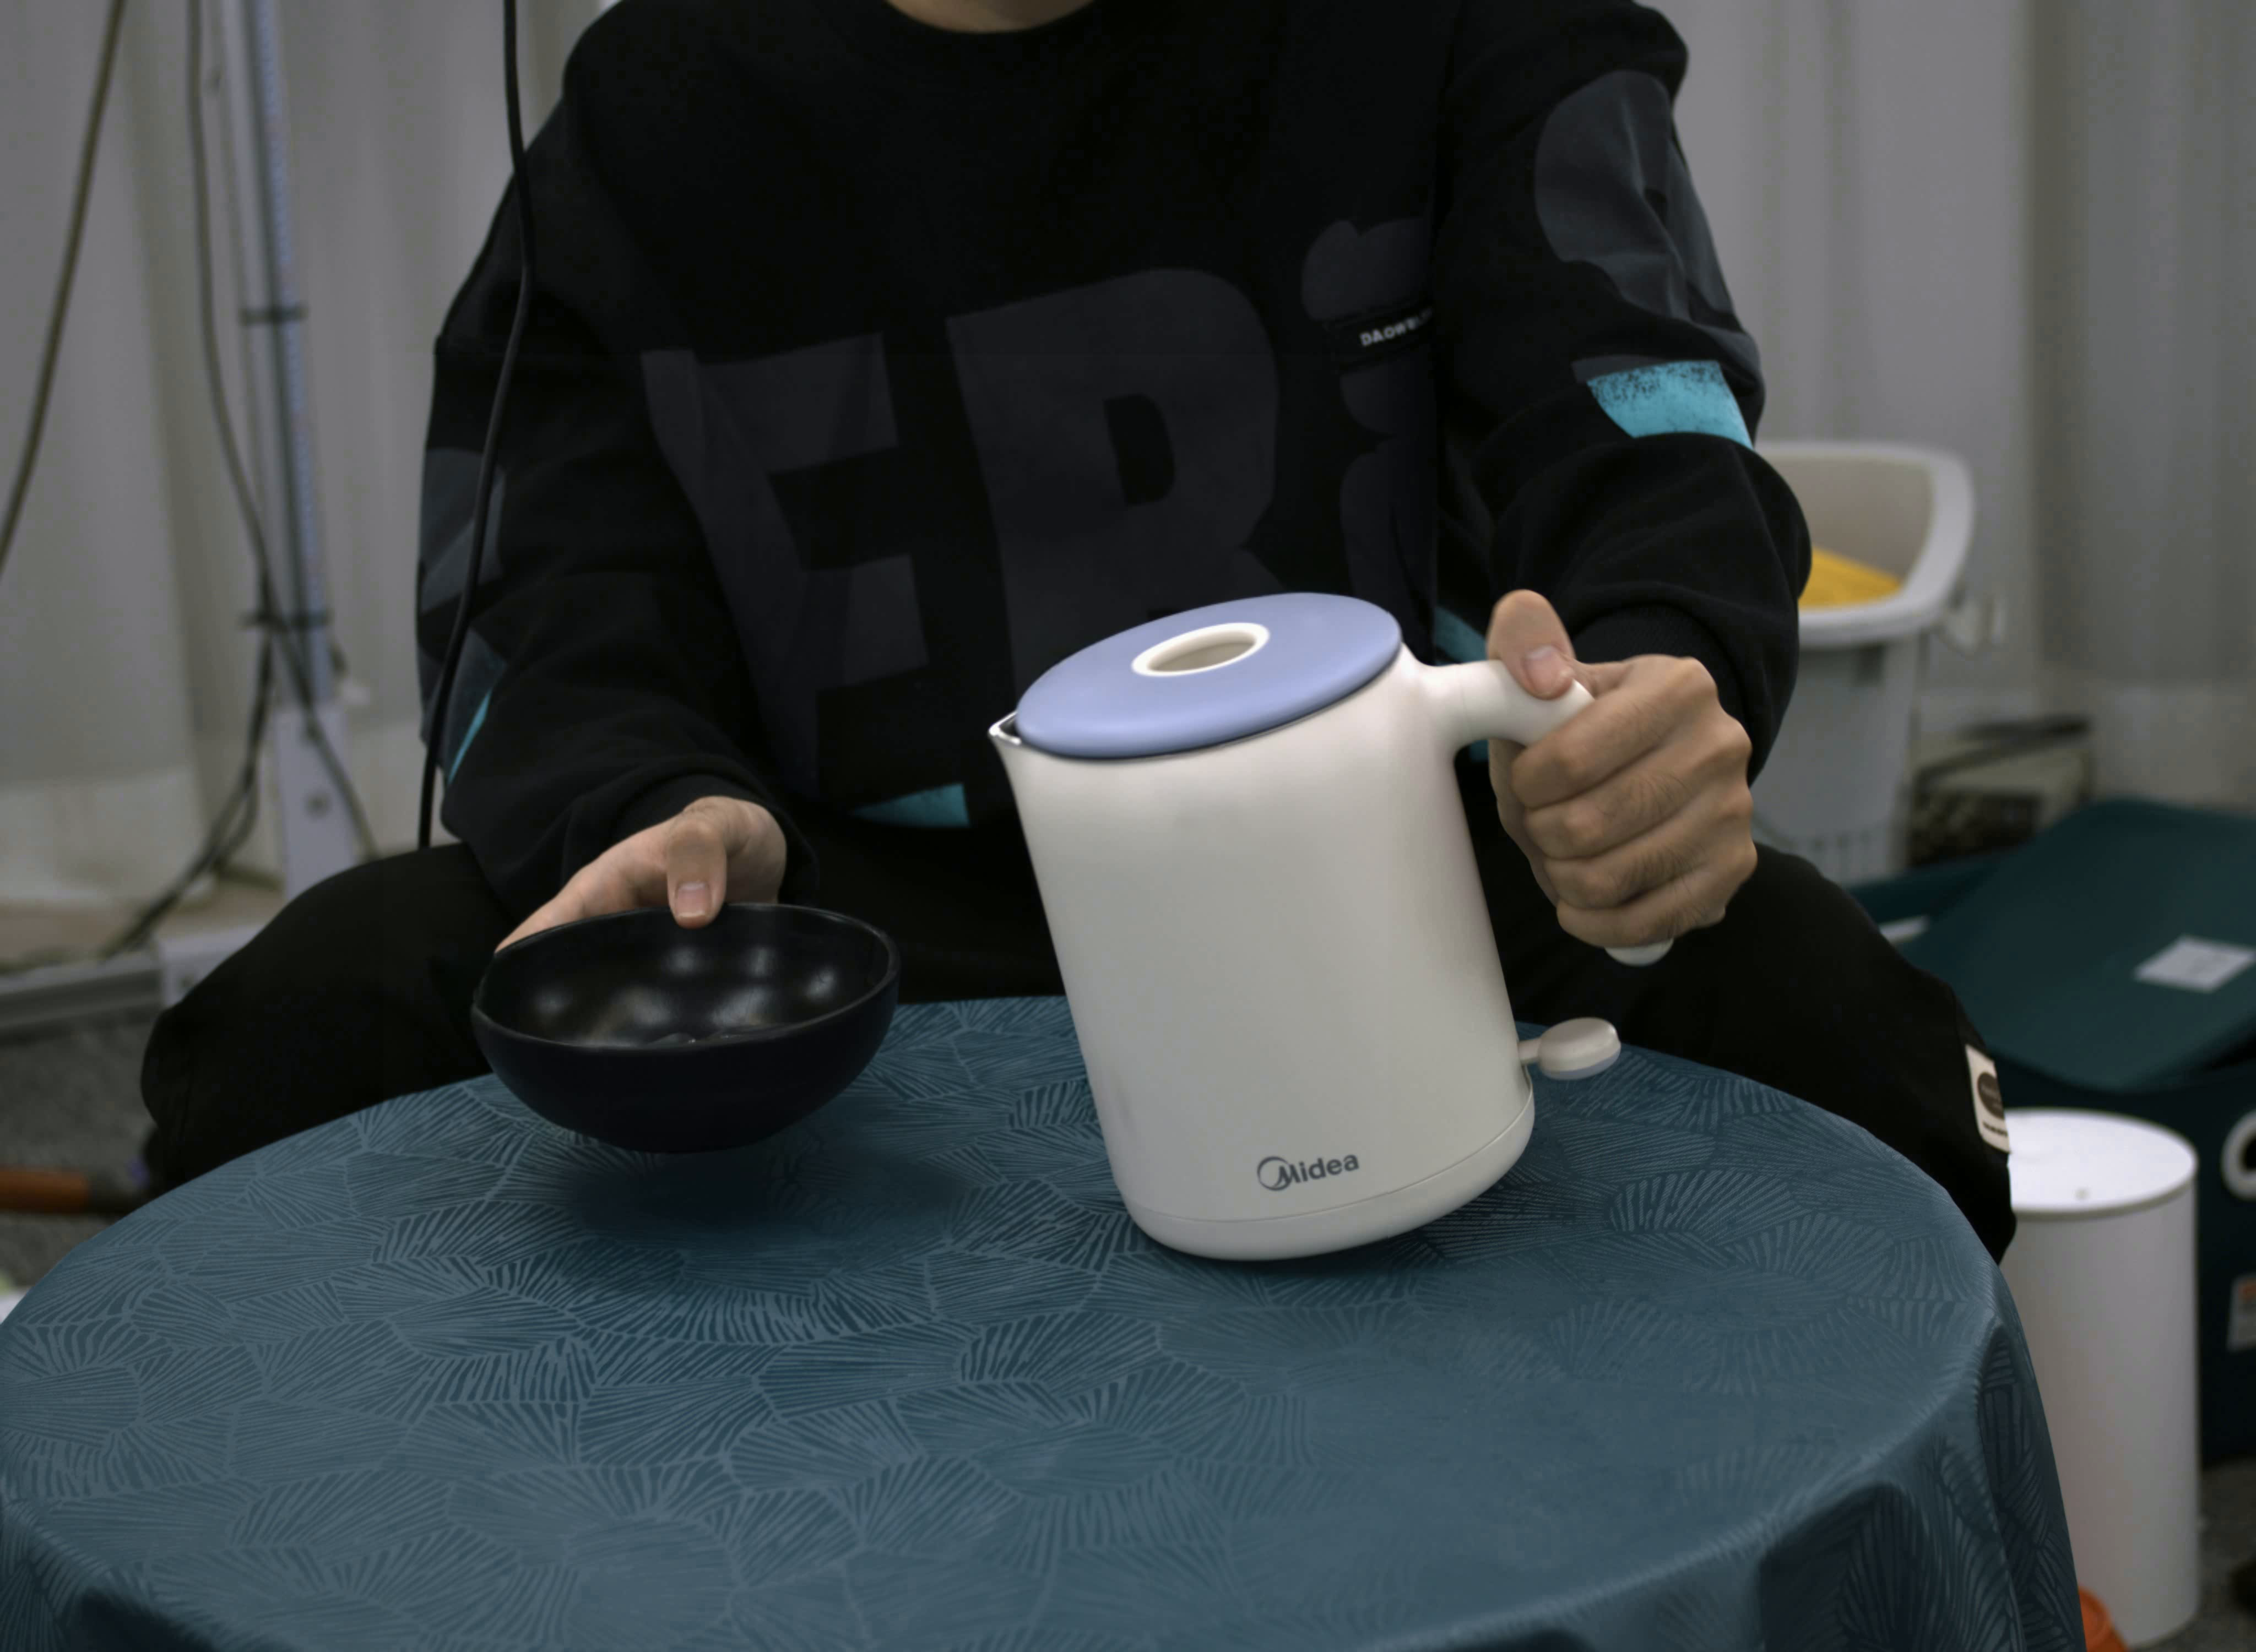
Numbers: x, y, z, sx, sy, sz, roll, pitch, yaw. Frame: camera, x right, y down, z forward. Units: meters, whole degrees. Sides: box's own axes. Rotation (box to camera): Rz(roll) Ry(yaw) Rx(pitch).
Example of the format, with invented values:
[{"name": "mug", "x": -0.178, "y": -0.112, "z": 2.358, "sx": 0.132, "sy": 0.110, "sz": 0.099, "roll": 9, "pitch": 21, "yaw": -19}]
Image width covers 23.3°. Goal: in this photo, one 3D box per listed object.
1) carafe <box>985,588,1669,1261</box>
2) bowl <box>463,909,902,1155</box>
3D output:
[{"name": "carafe", "x": 0.066, "y": 0.024, "z": 1.655, "sx": 0.190, "sy": 0.181, "sz": 0.133, "roll": -11, "pitch": 19, "yaw": 5}, {"name": "bowl", "x": -0.139, "y": 0.070, "z": 1.728, "sx": 0.139, "sy": 0.049, "sz": 0.141, "roll": -3, "pitch": 16, "yaw": 0}]
